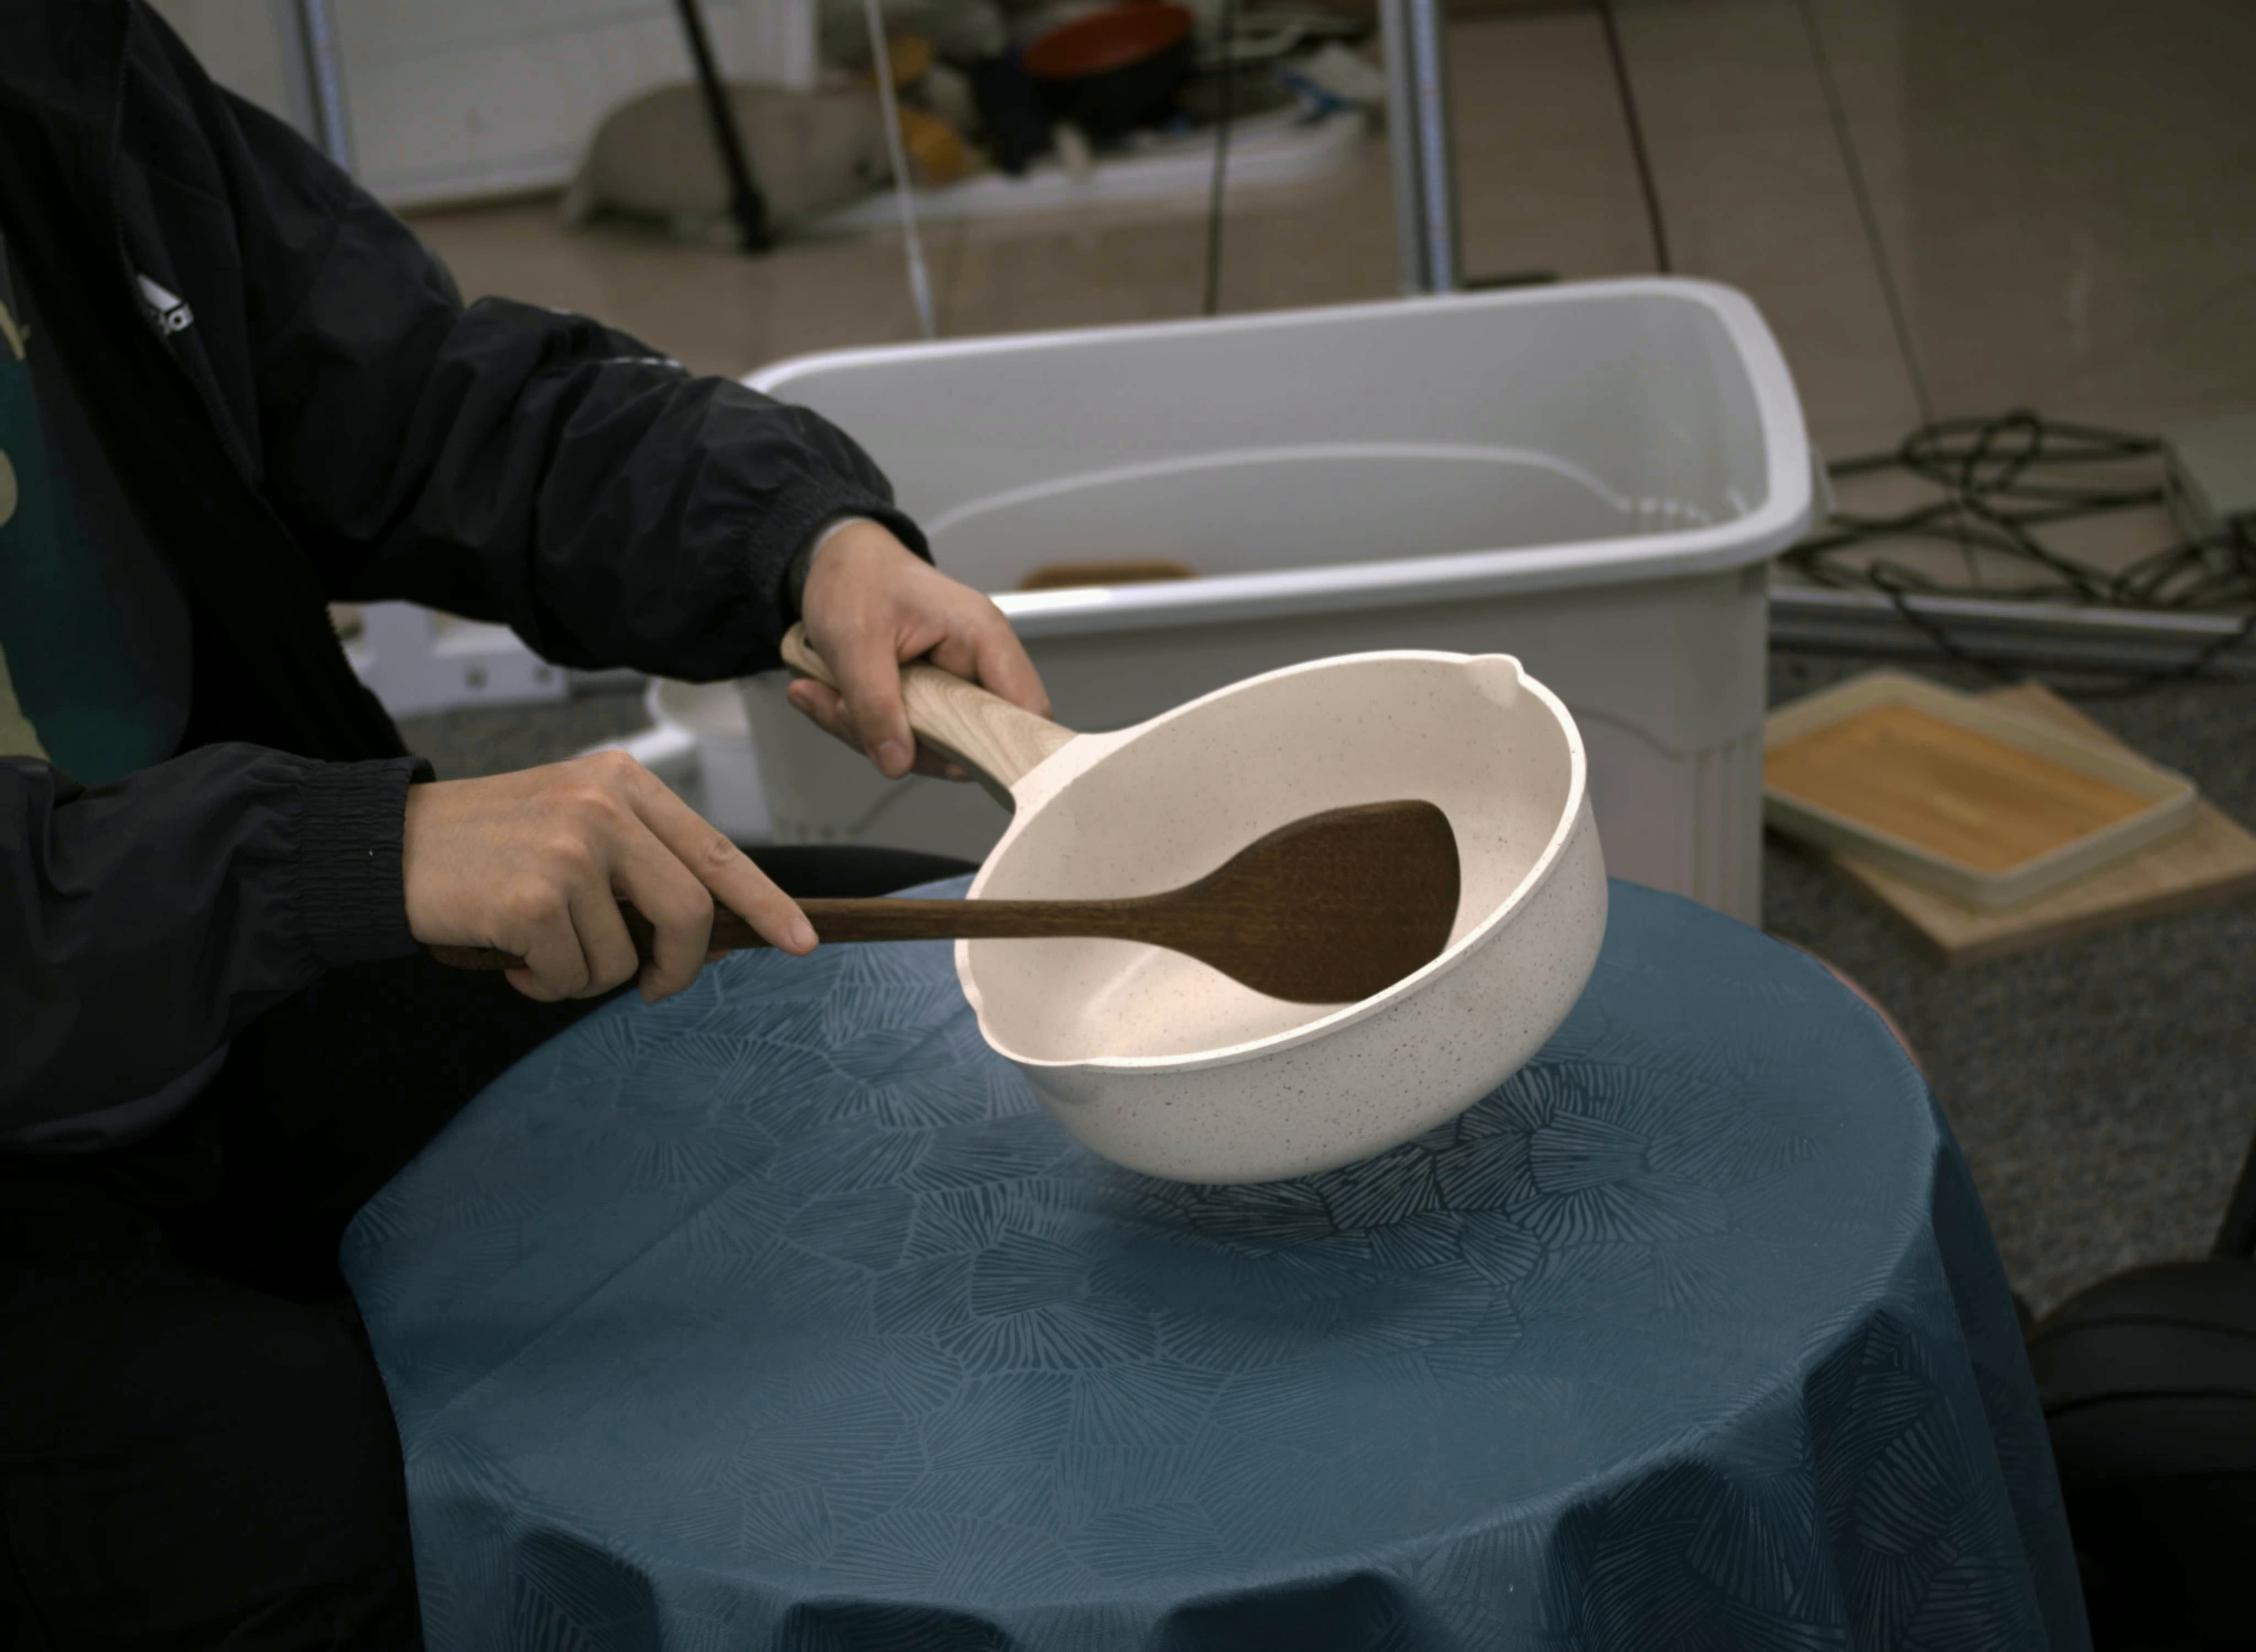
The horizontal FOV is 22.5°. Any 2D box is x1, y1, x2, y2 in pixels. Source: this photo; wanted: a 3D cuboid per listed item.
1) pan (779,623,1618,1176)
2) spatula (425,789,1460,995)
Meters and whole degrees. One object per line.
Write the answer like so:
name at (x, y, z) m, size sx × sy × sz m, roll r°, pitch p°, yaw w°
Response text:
pan at (0.011, 0.008, 2.206) m, size 0.261 × 0.103 × 0.431 m, roll -40°, pitch 35°, yaw -21°
spatula at (-0.067, 0.032, 2.097) m, size 0.385 × 0.098 × 0.015 m, roll -2°, pitch 41°, yaw -8°
